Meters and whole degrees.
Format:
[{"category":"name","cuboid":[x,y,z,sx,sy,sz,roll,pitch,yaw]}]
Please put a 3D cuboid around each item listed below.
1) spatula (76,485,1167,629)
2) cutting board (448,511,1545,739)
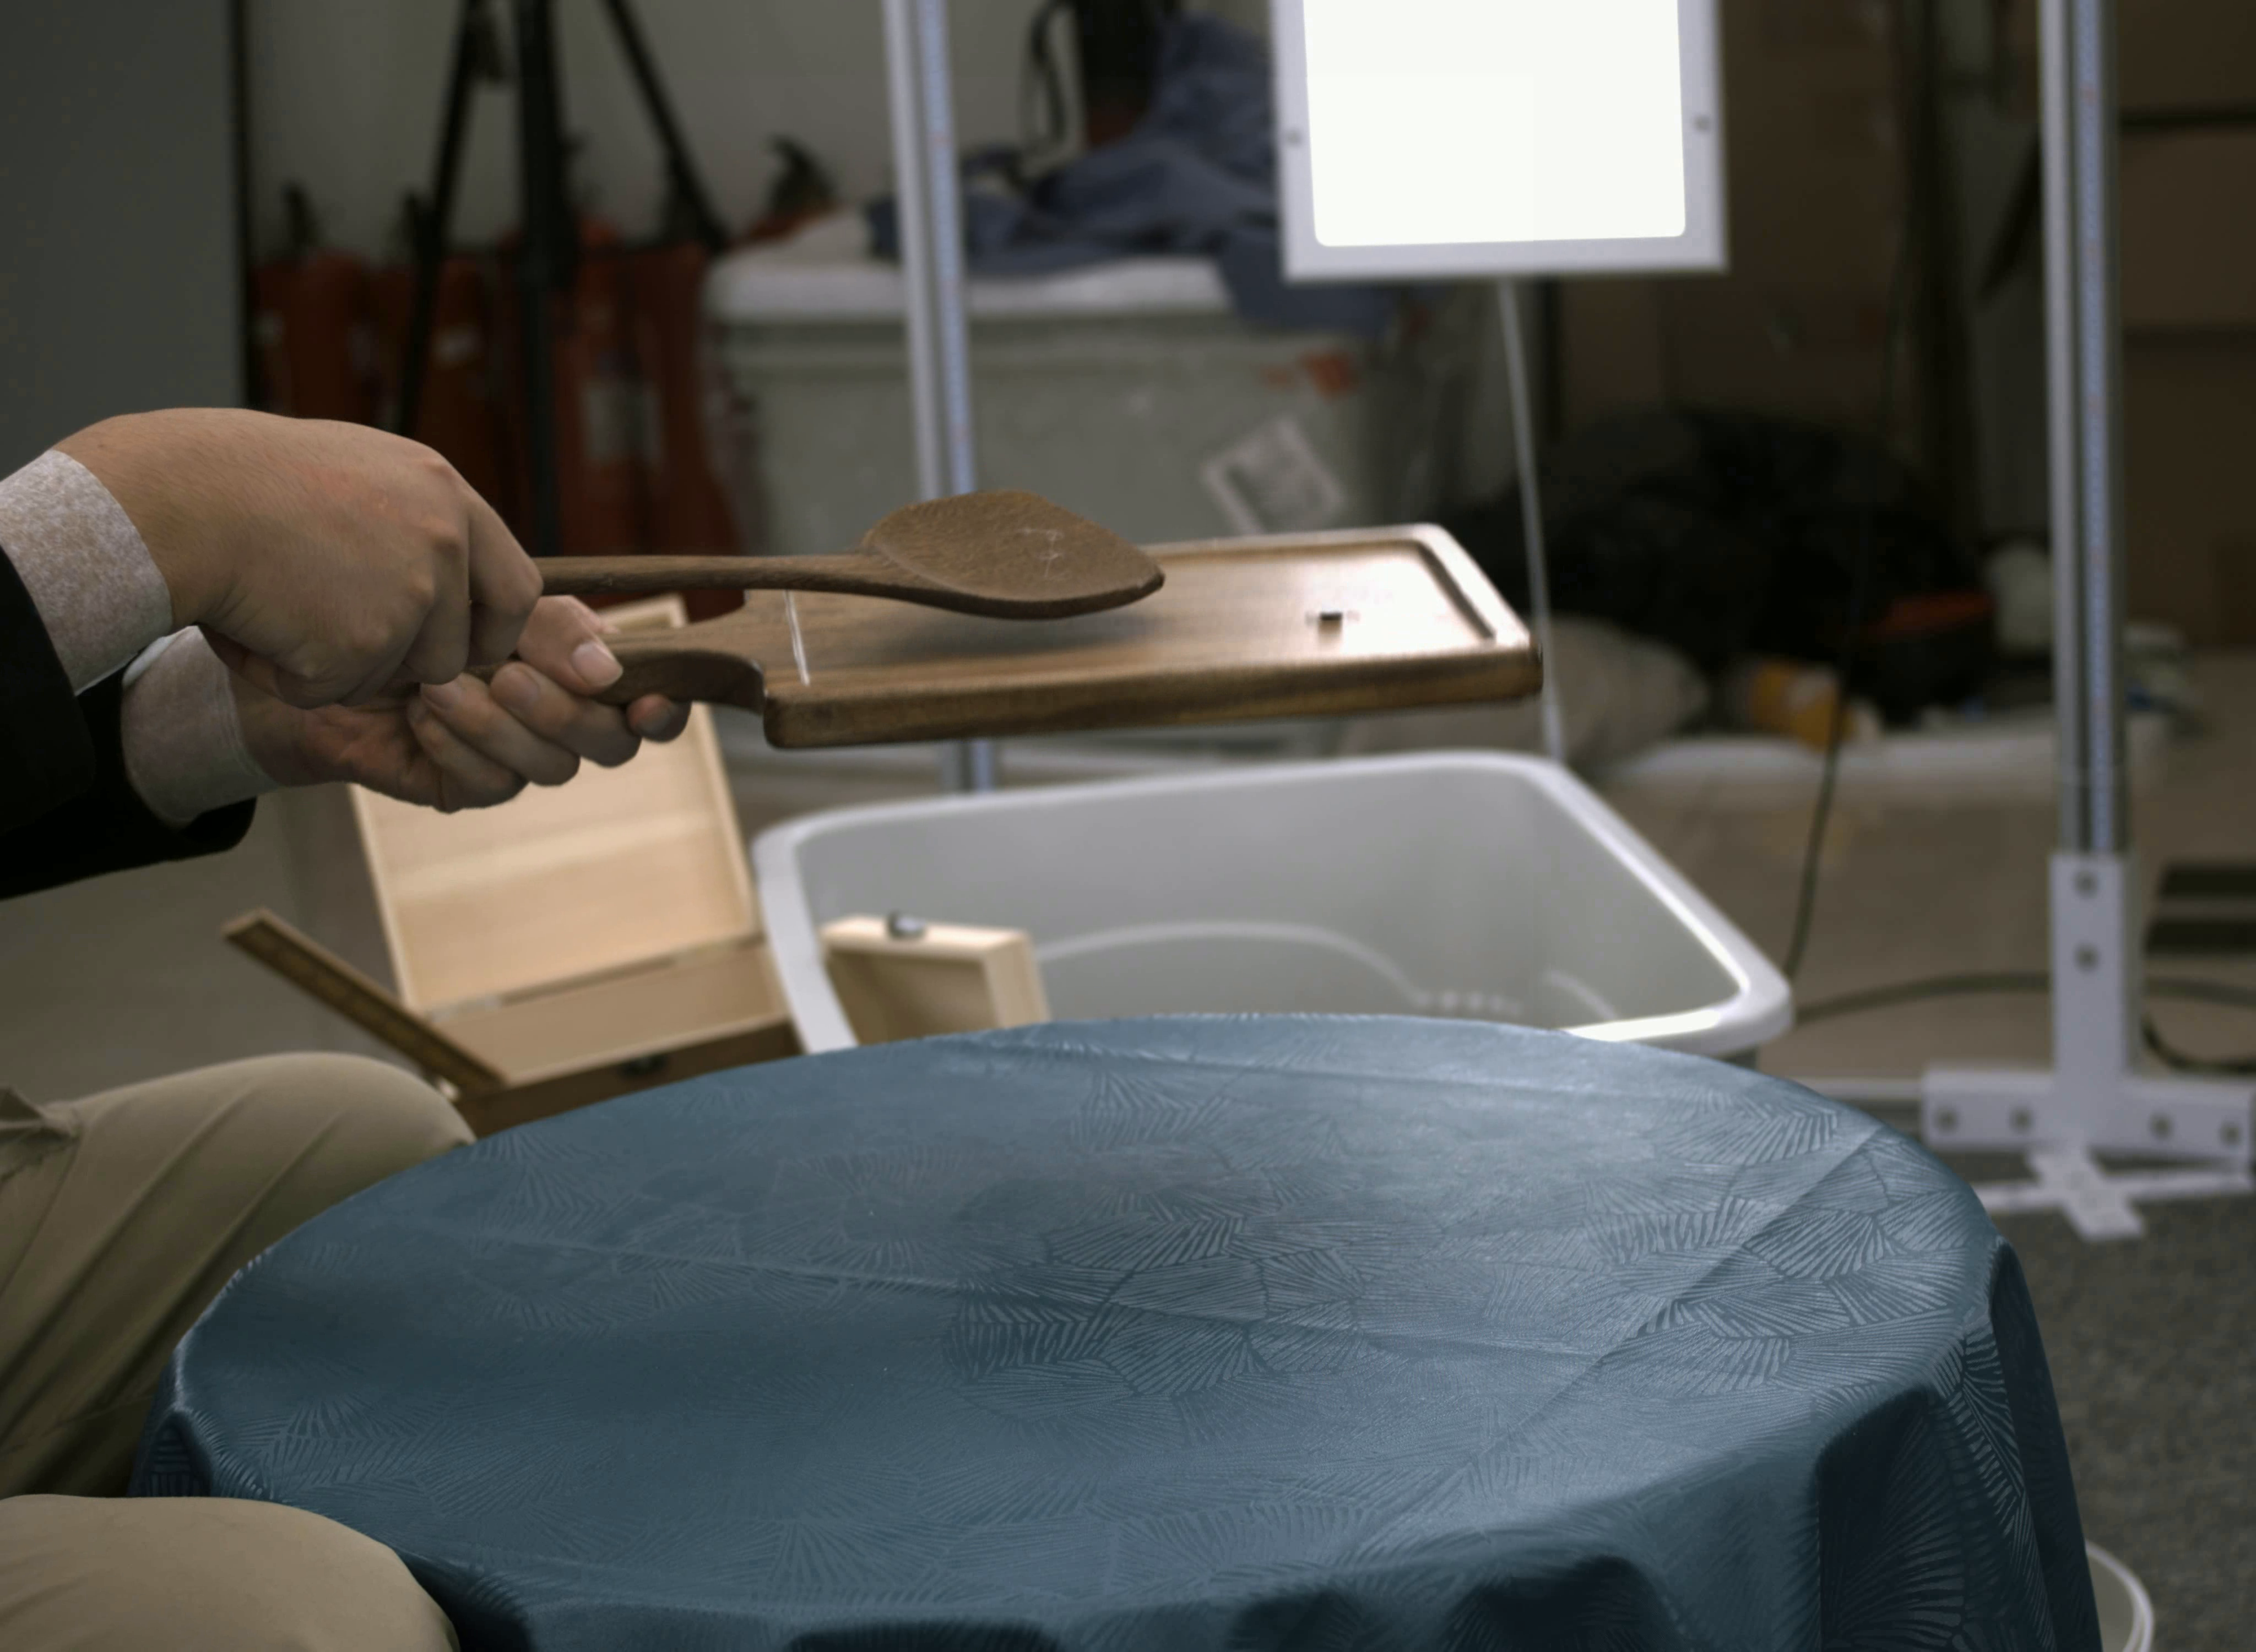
[{"category":"spatula","cuboid":[-0.156,-0.081,1.744,0.376,0.016,0.098,-5,25,-35]},{"category":"cutting board","cuboid":[-0.050,-0.065,1.832,0.350,0.023,0.201,-5,15,-3]}]
